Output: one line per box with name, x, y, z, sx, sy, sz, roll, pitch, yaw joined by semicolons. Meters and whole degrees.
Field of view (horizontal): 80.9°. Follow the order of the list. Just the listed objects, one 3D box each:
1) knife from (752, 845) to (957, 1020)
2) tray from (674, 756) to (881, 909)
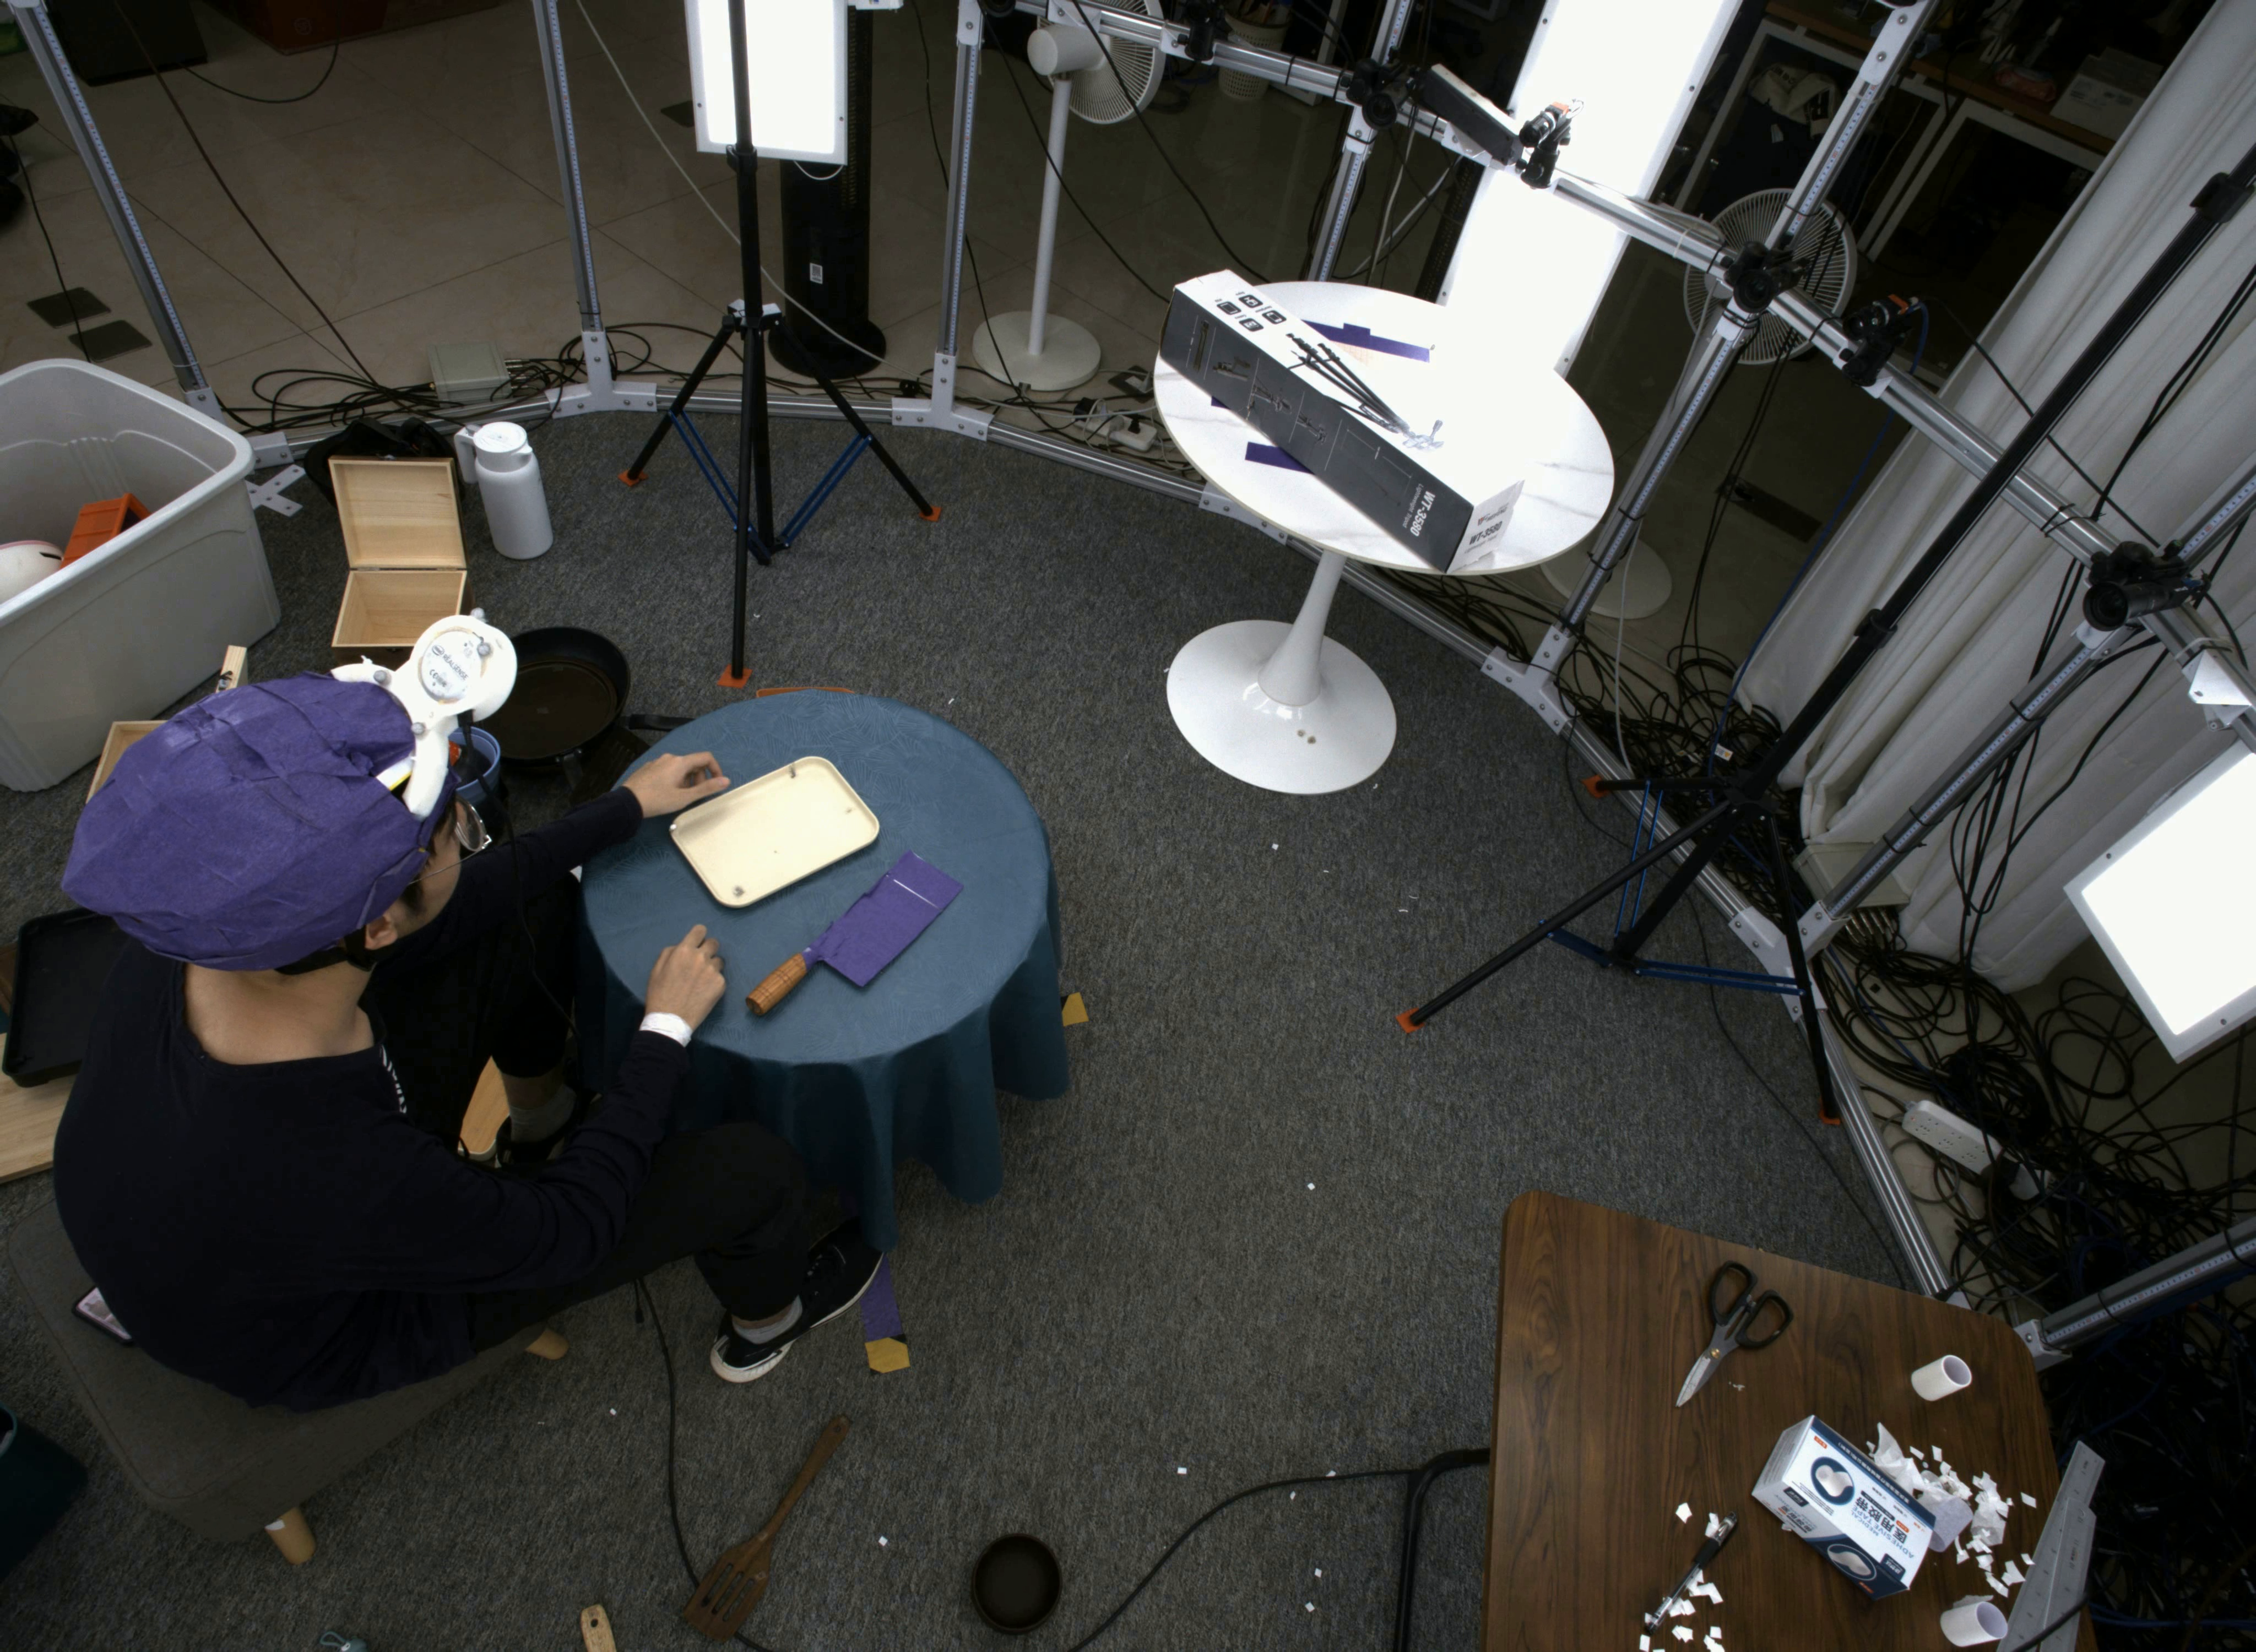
knife;-0.334;0.140;1.637;0.102;0.033;0.314;32;53;11
tray;-0.461;0.006;1.710;0.240;0.018;0.167;-29;67;-30
